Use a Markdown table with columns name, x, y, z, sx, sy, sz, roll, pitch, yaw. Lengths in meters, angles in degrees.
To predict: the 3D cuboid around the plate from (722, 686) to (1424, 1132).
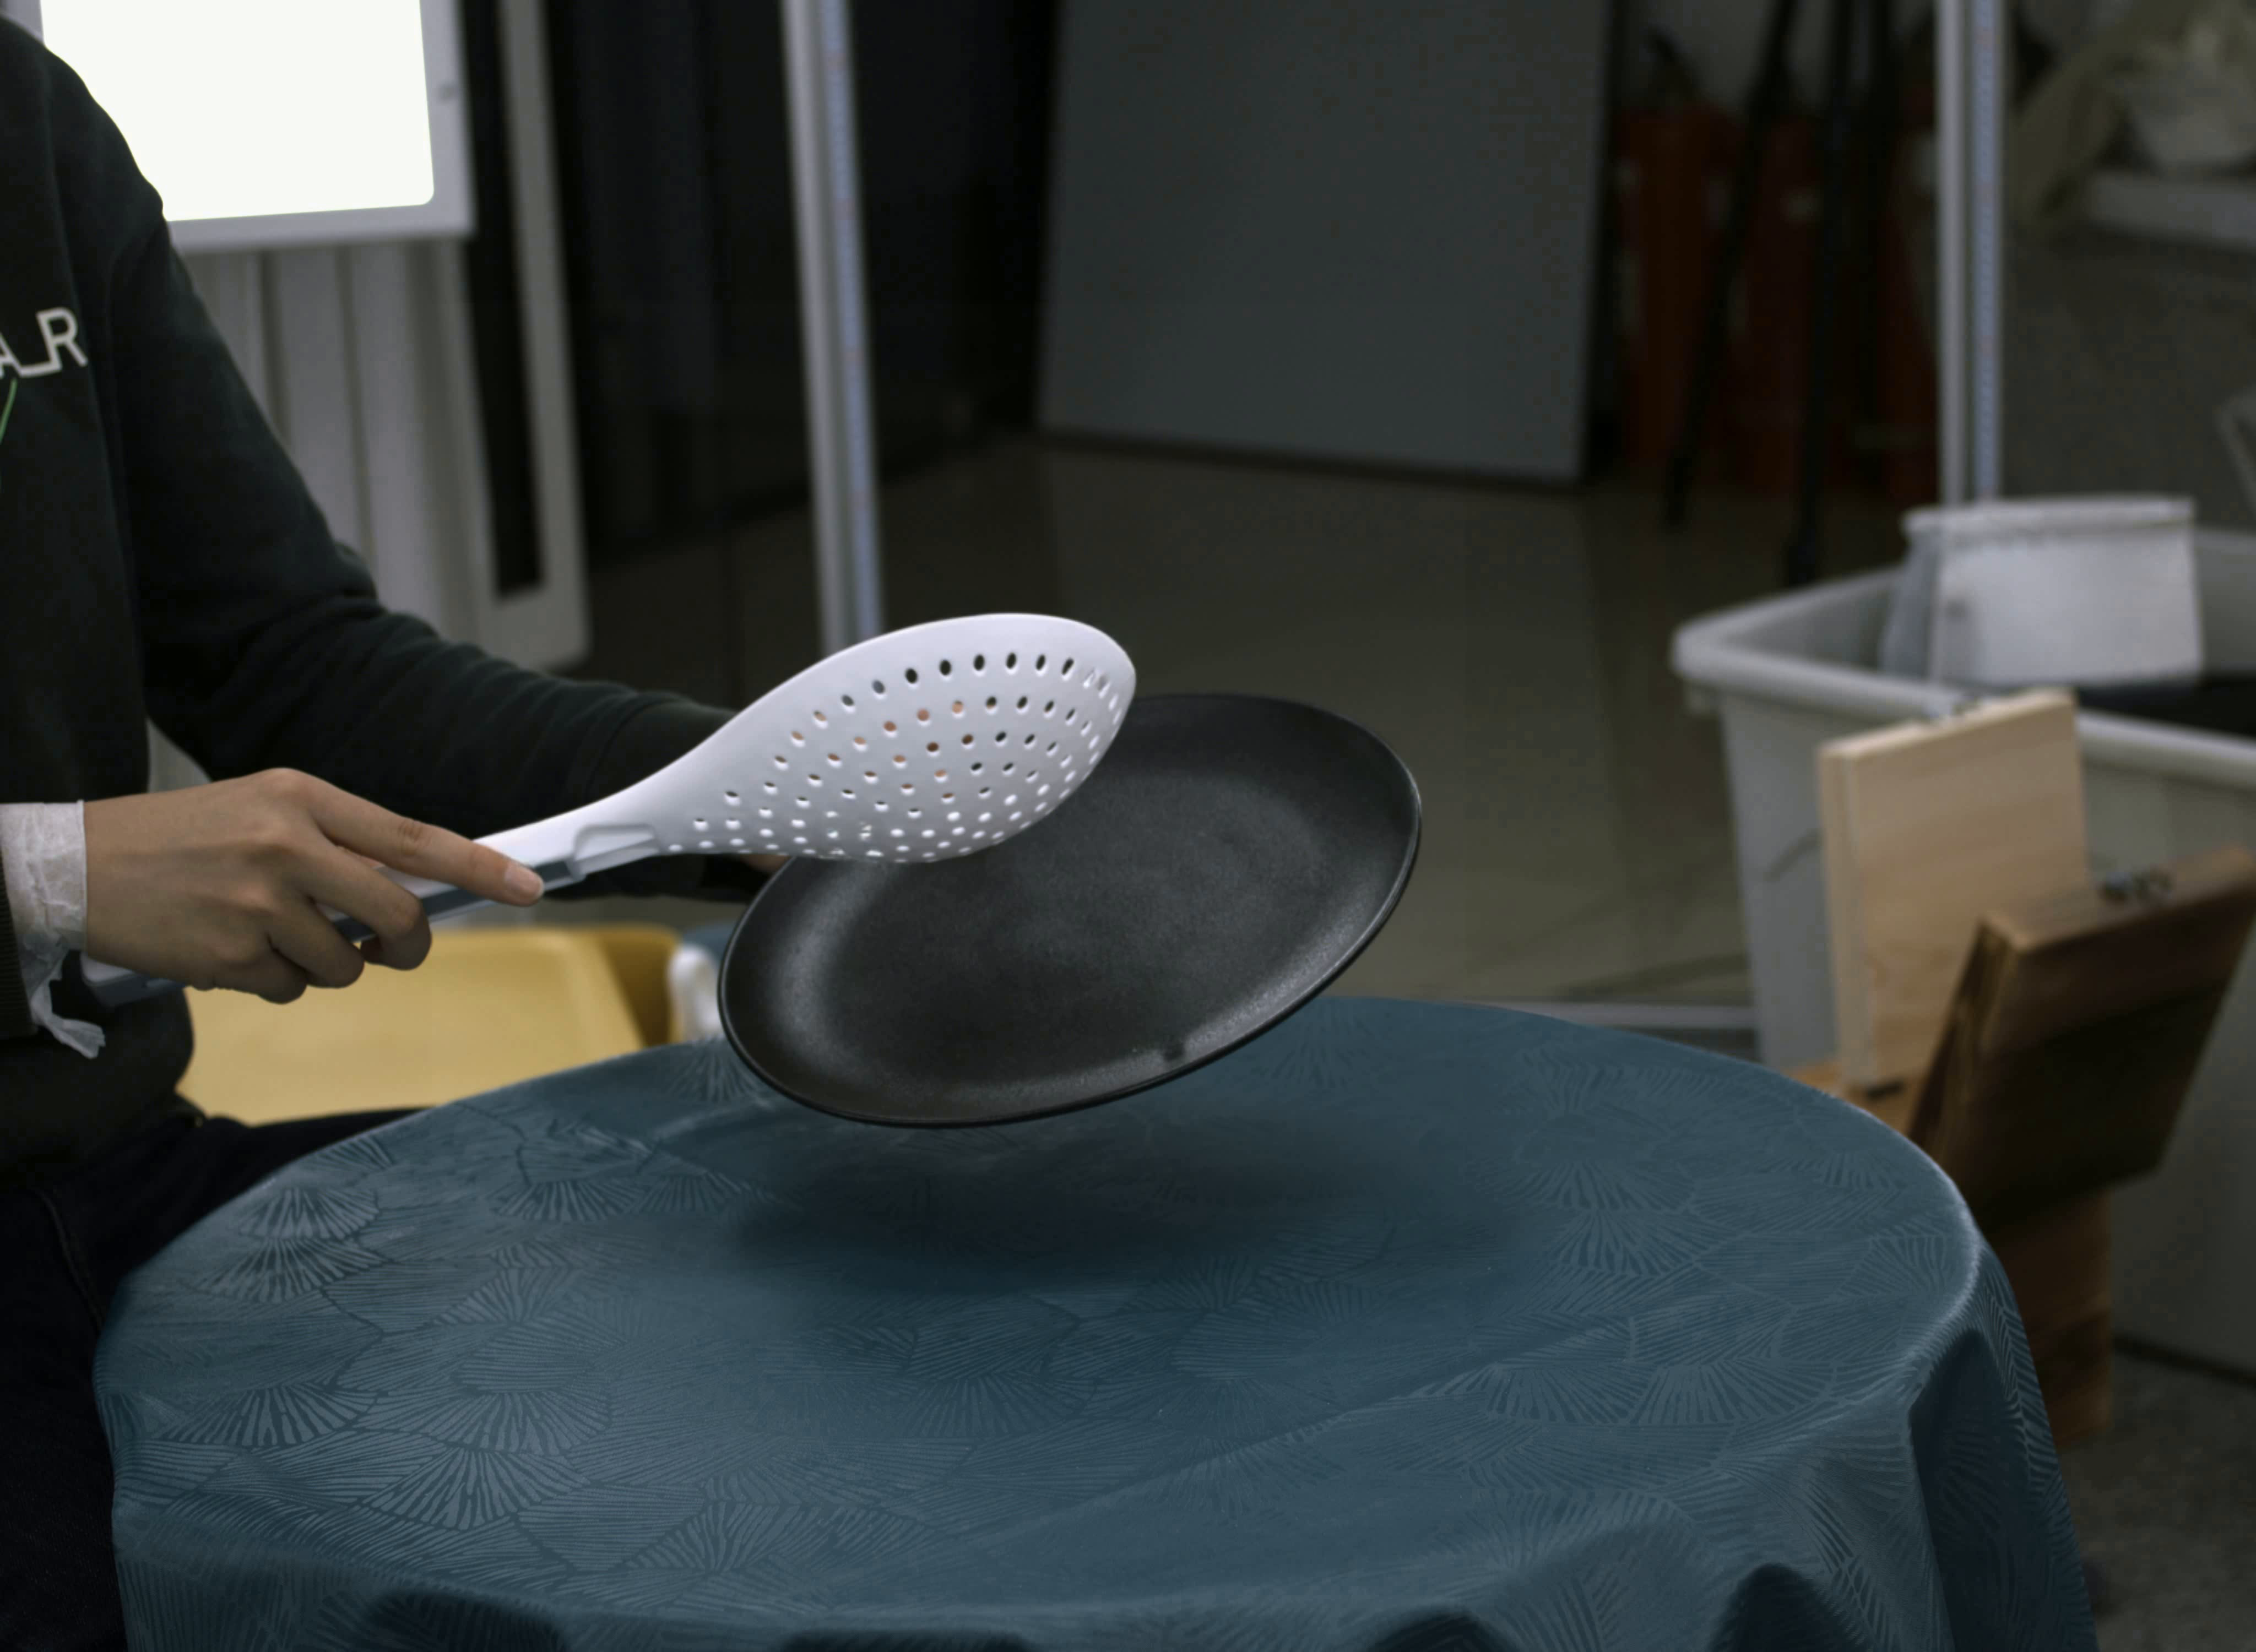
| name | x | y | z | sx | sy | sz | roll | pitch | yaw |
| --- | --- | --- | --- | --- | --- | --- | --- | --- | --- |
| plate | -0.017 | 0.032 | 1.774 | 0.242 | 0.023 | 0.245 | -16 | 31 | 8 |

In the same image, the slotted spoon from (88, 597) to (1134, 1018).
| name | x | y | z | sx | sy | sz | roll | pitch | yaw |
| --- | --- | --- | --- | --- | --- | --- | --- | --- | --- |
| slotted spoon | -0.163 | 0.002 | 1.730 | 0.346 | 0.046 | 0.135 | -12 | -27 | 3 |
